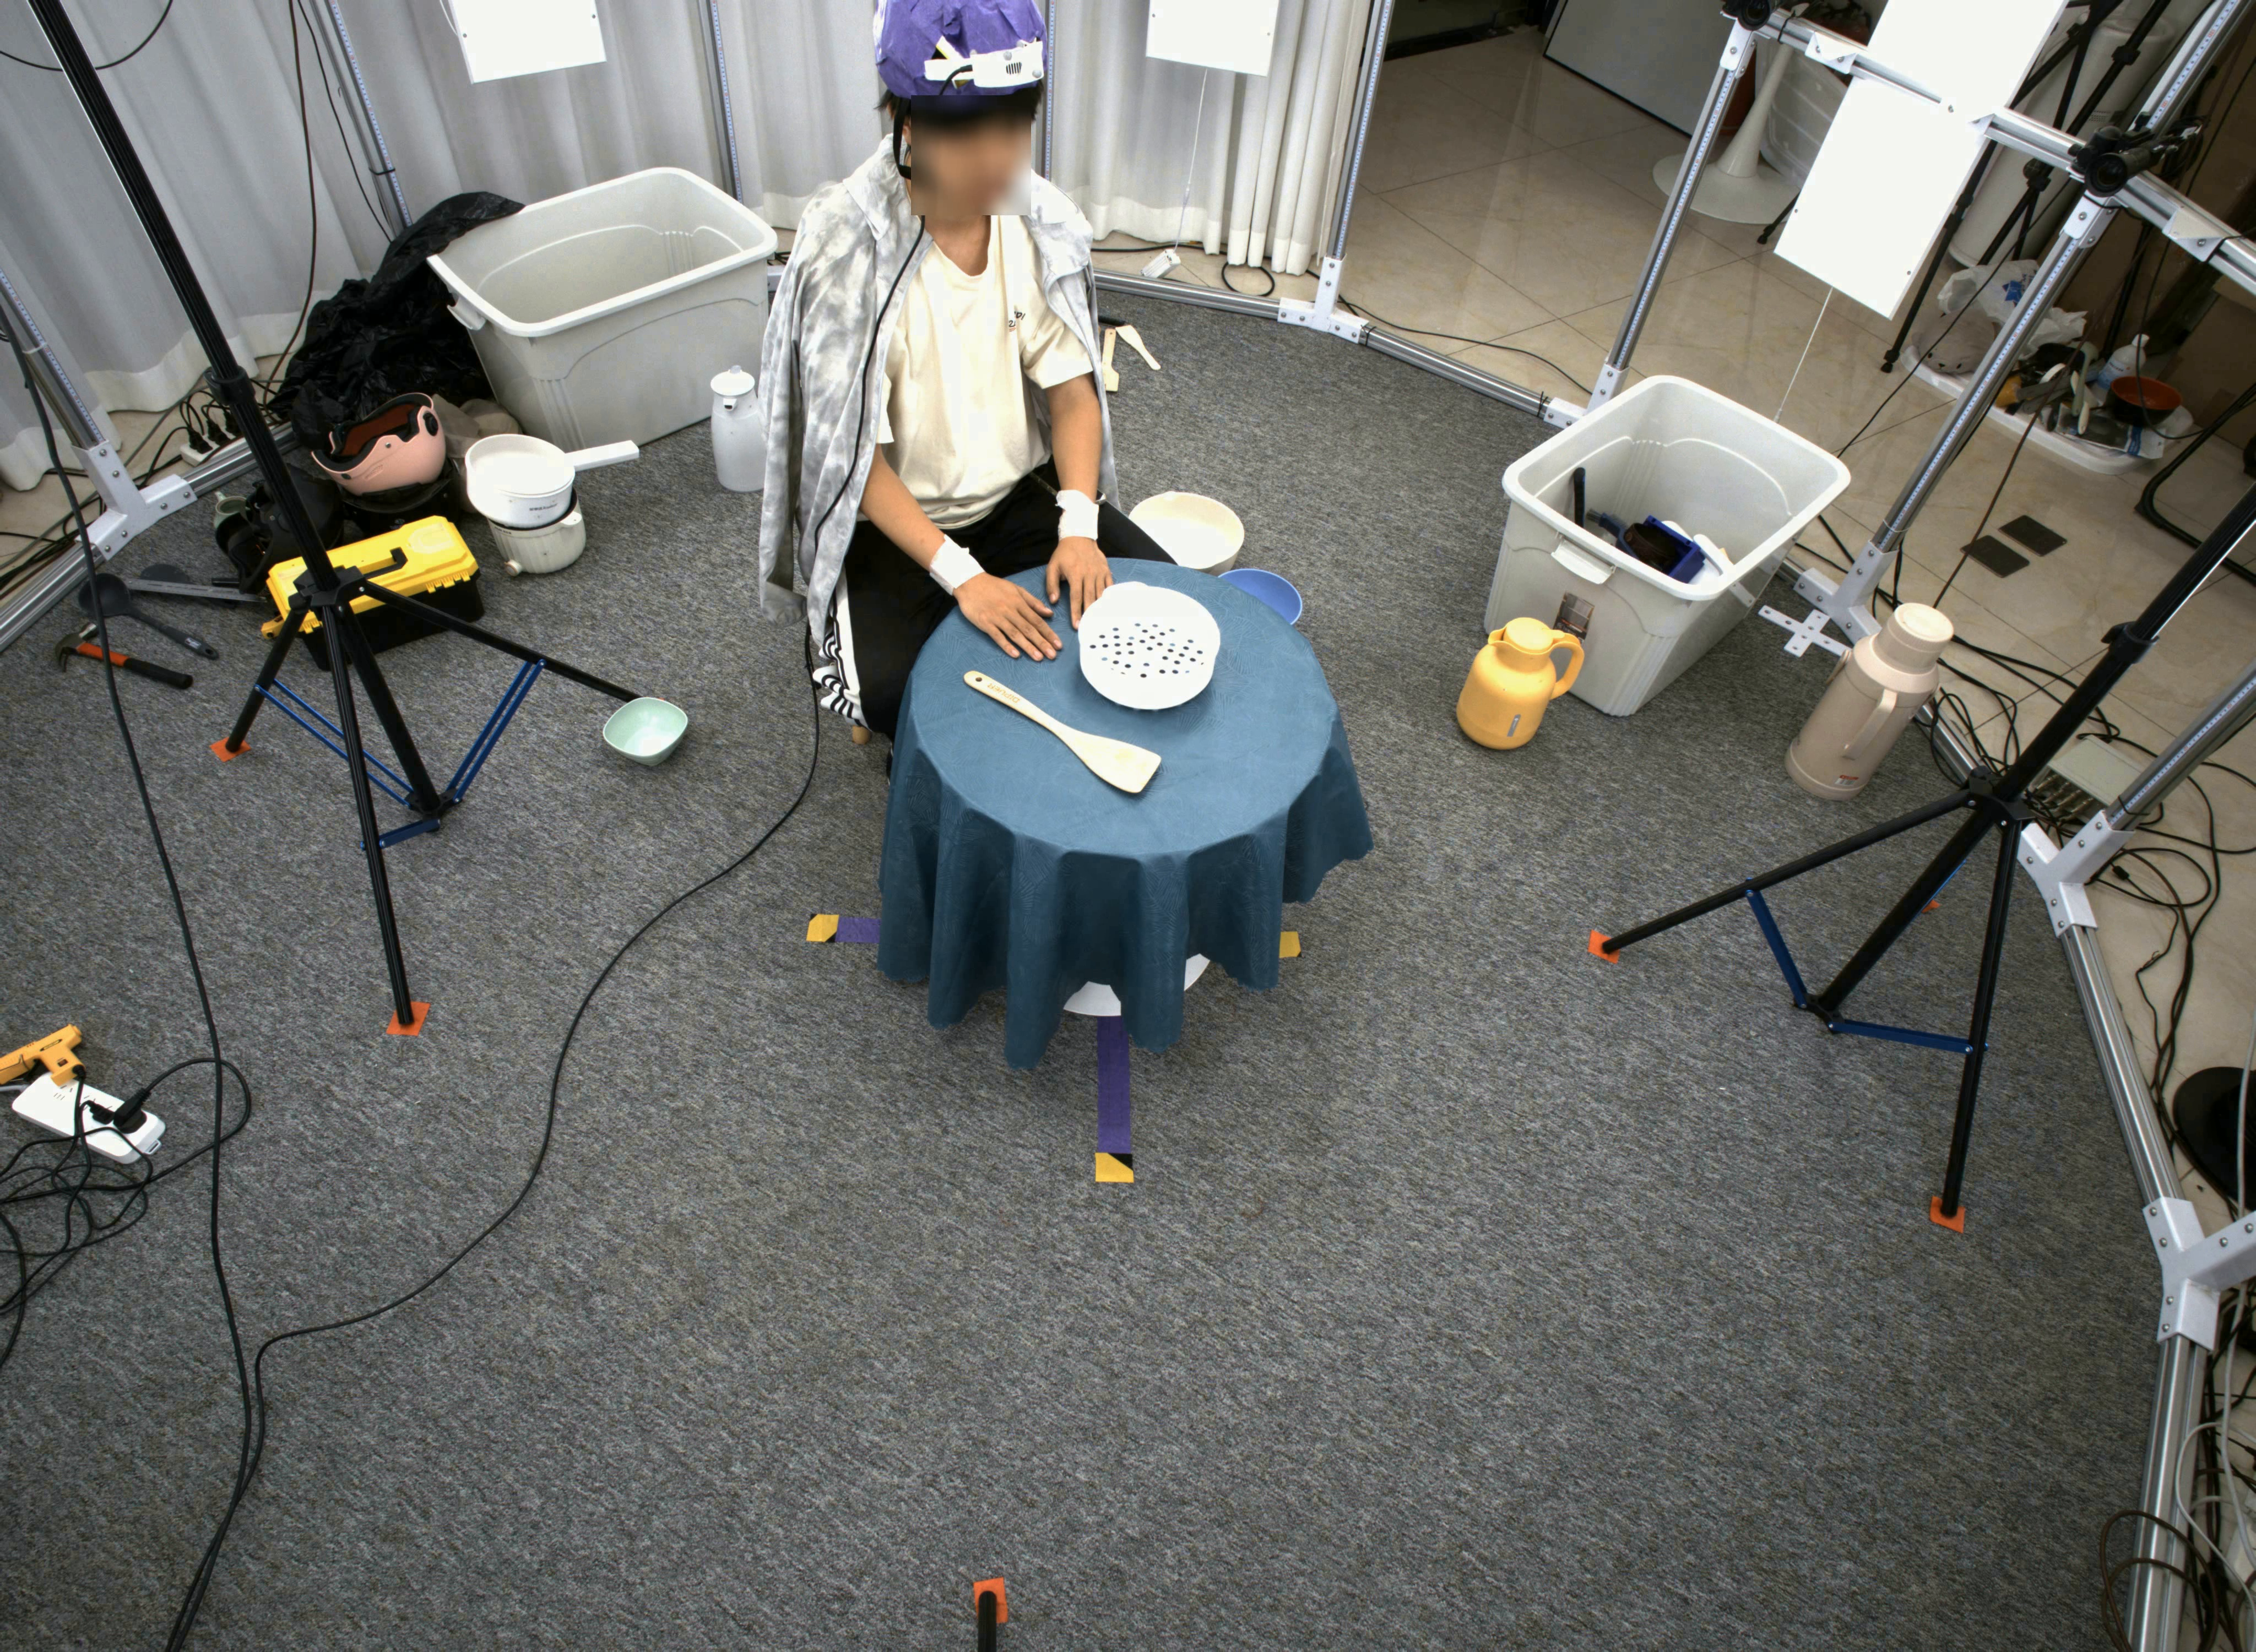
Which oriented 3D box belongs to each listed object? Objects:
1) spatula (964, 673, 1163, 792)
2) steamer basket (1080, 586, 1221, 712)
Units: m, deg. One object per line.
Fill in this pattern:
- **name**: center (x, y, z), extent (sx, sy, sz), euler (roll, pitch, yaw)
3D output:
- **spatula**: center (-0.095, -0.139, 1.763), extent (0.331, 0.016, 0.081), euler (30, 53, 22)
- **steamer basket**: center (0.030, -0.250, 1.838), extent (0.202, 0.067, 0.236), euler (-12, 50, -16)
